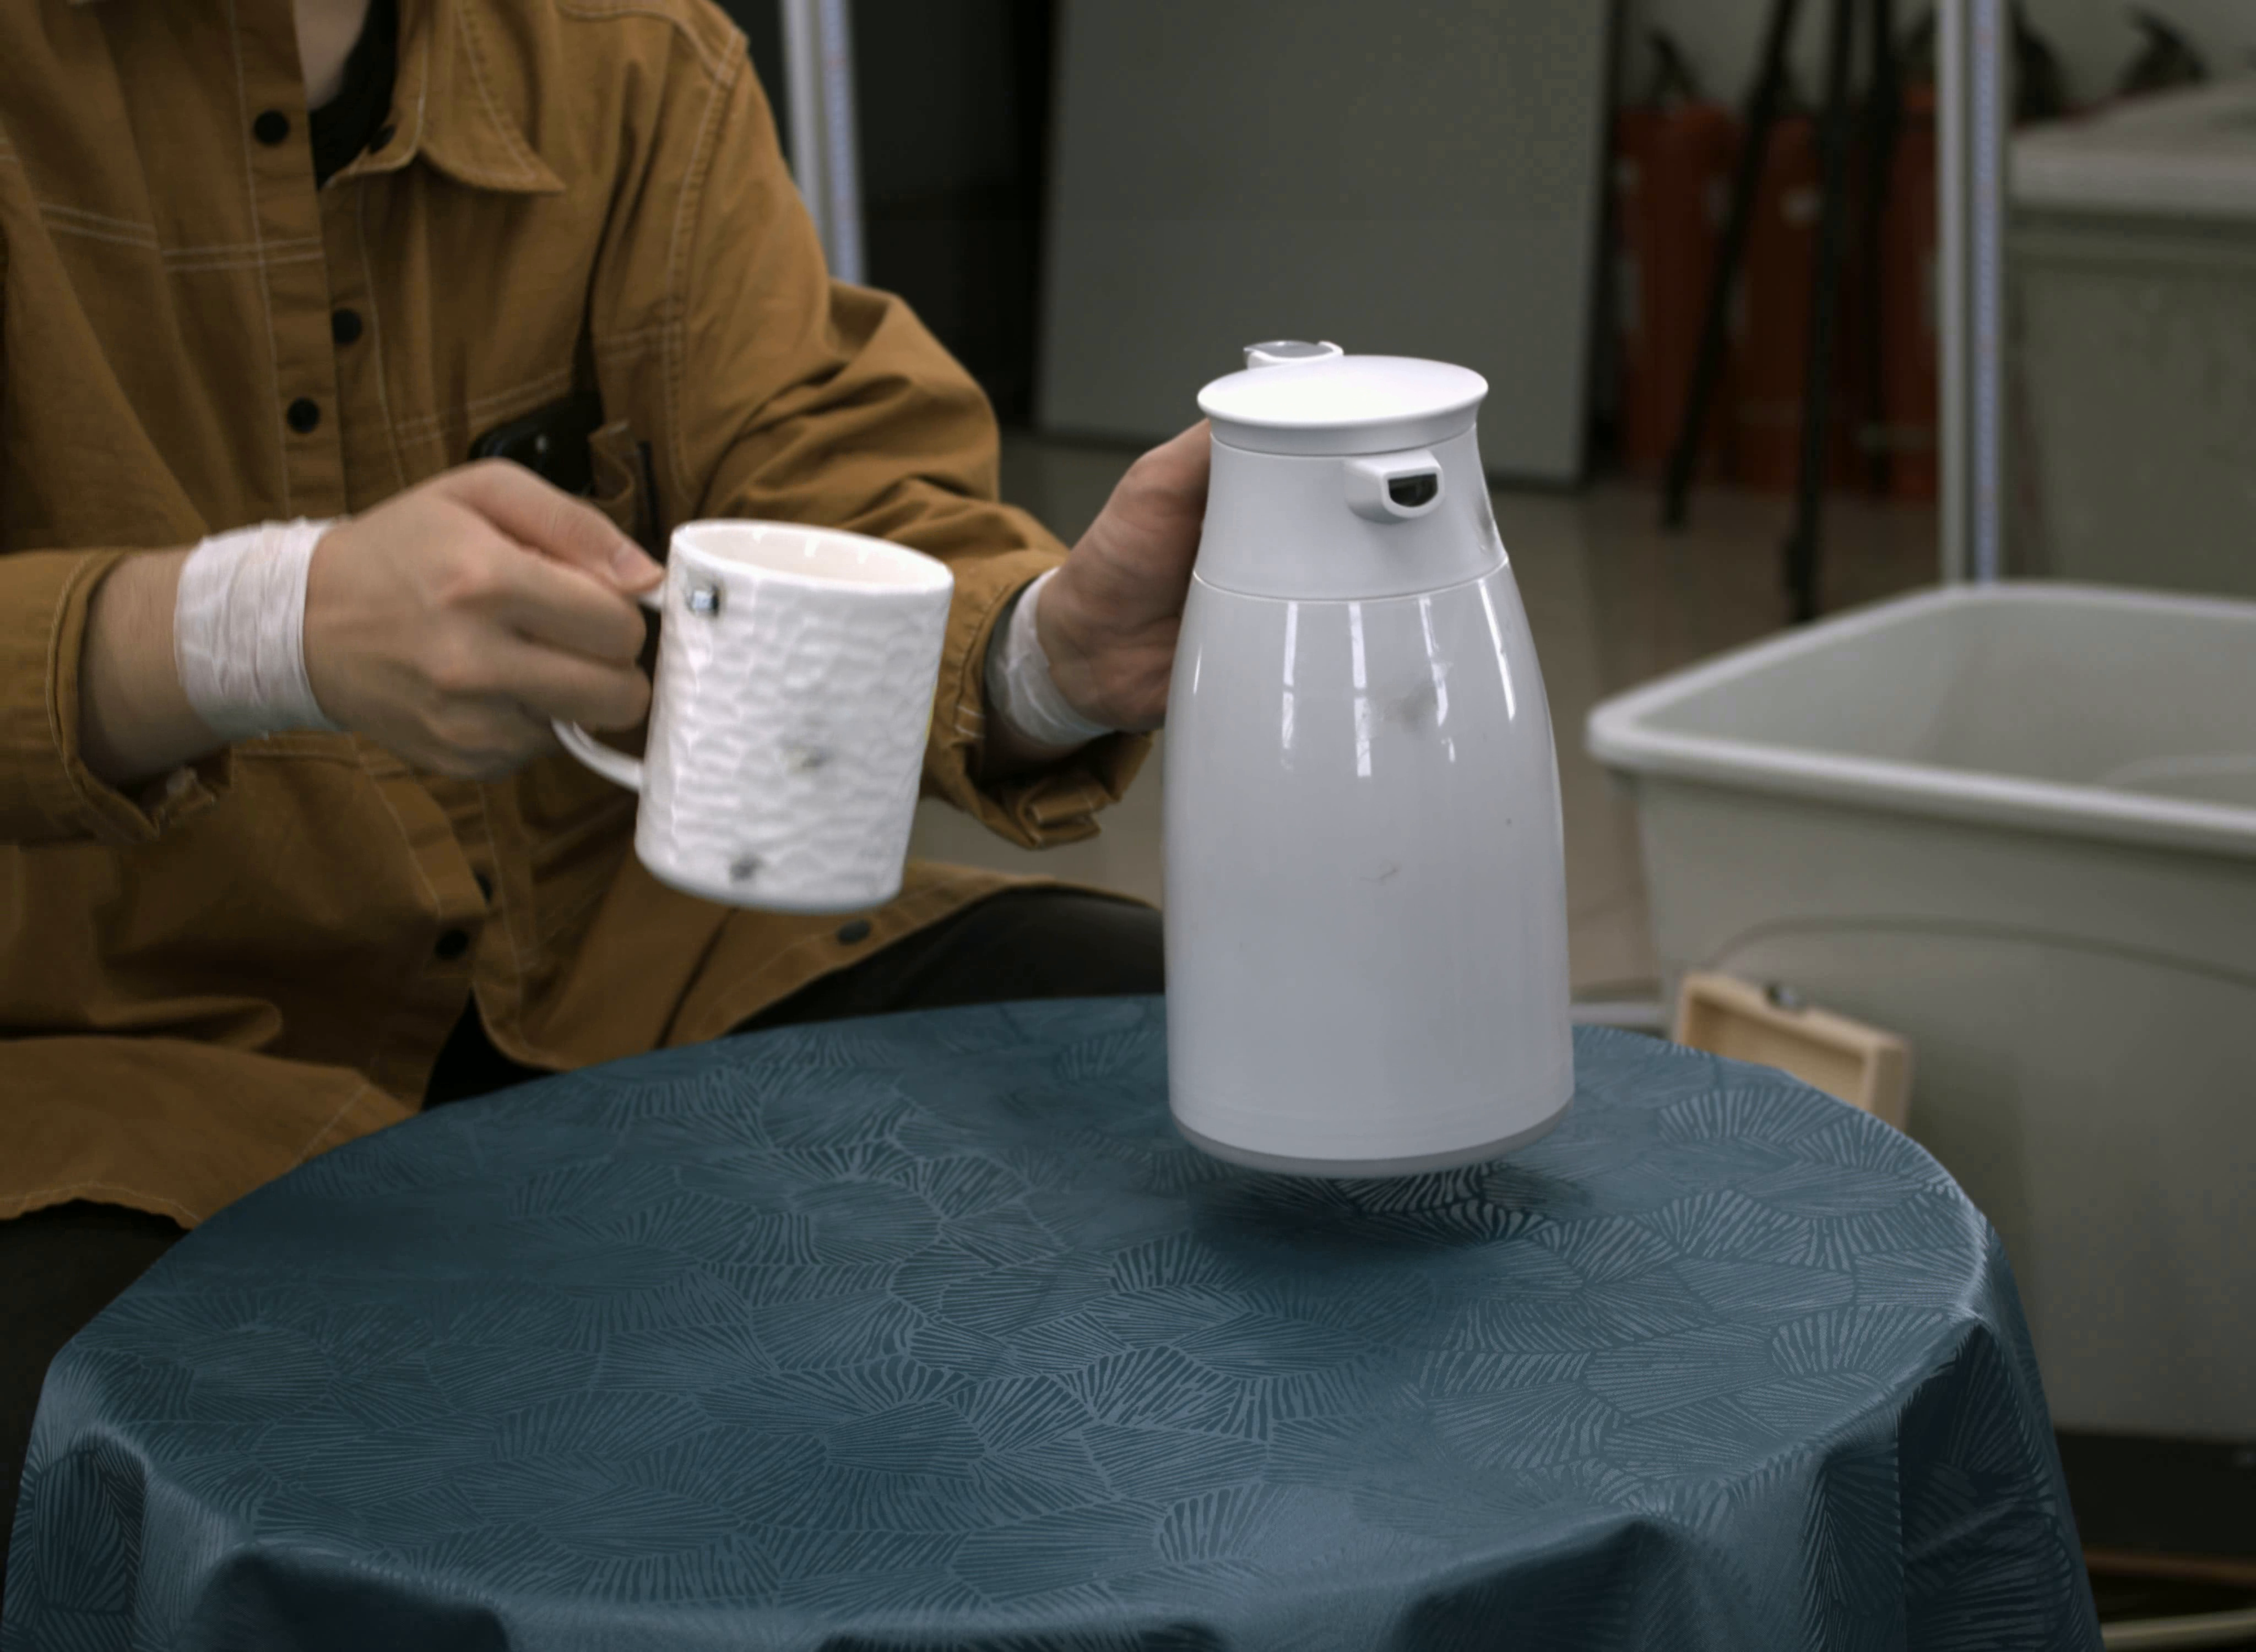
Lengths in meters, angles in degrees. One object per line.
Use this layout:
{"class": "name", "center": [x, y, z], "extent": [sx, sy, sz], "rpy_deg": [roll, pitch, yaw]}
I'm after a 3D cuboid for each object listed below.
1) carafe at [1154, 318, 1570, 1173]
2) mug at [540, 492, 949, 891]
{"class": "carafe", "center": [0.063, -0.034, 1.727], "extent": [0.130, 0.251, 0.169], "rpy_deg": [-9, 16, -17]}
{"class": "mug", "center": [-0.118, -0.043, 1.622], "extent": [0.117, 0.103, 0.085], "rpy_deg": [9, 13, 0]}
